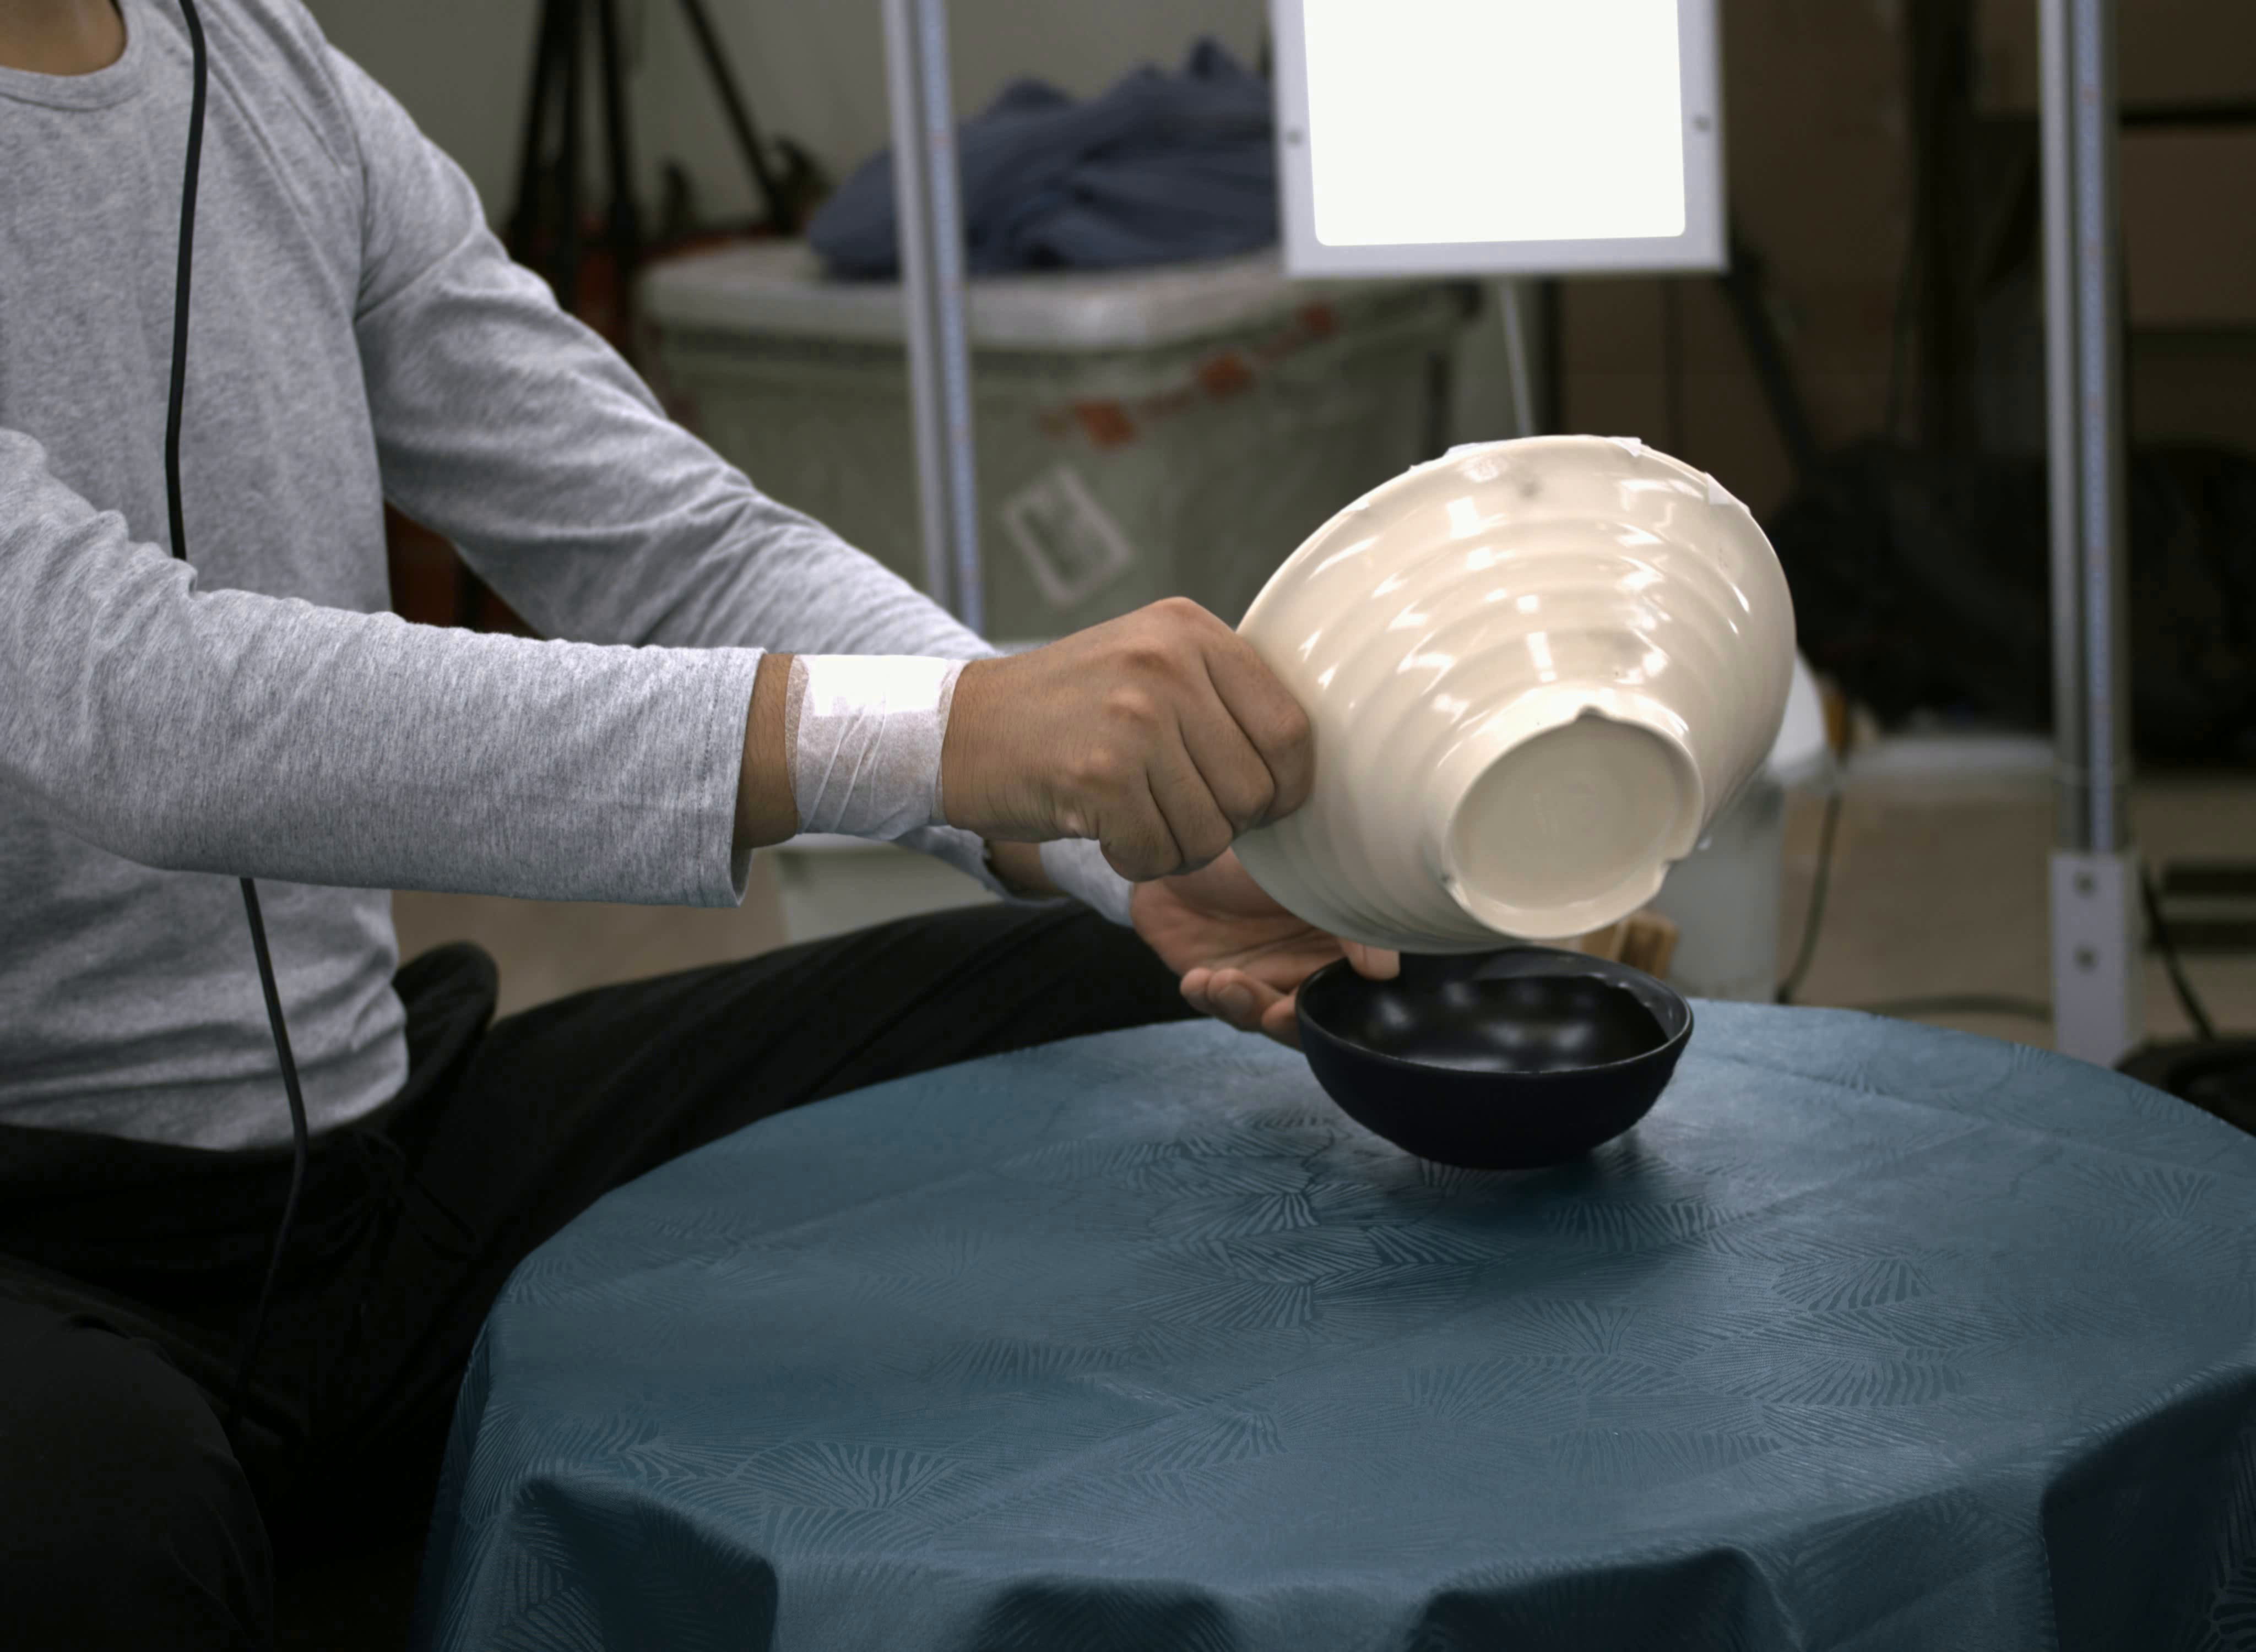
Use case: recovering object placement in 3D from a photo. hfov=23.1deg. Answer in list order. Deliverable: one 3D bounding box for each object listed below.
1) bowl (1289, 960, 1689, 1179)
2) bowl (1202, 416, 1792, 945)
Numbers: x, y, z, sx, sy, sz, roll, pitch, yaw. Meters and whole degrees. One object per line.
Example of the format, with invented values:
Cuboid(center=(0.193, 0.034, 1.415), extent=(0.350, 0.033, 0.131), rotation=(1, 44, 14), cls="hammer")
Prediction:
Cuboid(center=(0.126, 0.089, 1.910), extent=(0.139, 0.050, 0.140), rotation=(-3, 14, -1), cls="bowl")
Cuboid(center=(0.131, -0.025, 1.769), extent=(0.201, 0.205, 0.078), rotation=(-7, 36, -12), cls="bowl")
